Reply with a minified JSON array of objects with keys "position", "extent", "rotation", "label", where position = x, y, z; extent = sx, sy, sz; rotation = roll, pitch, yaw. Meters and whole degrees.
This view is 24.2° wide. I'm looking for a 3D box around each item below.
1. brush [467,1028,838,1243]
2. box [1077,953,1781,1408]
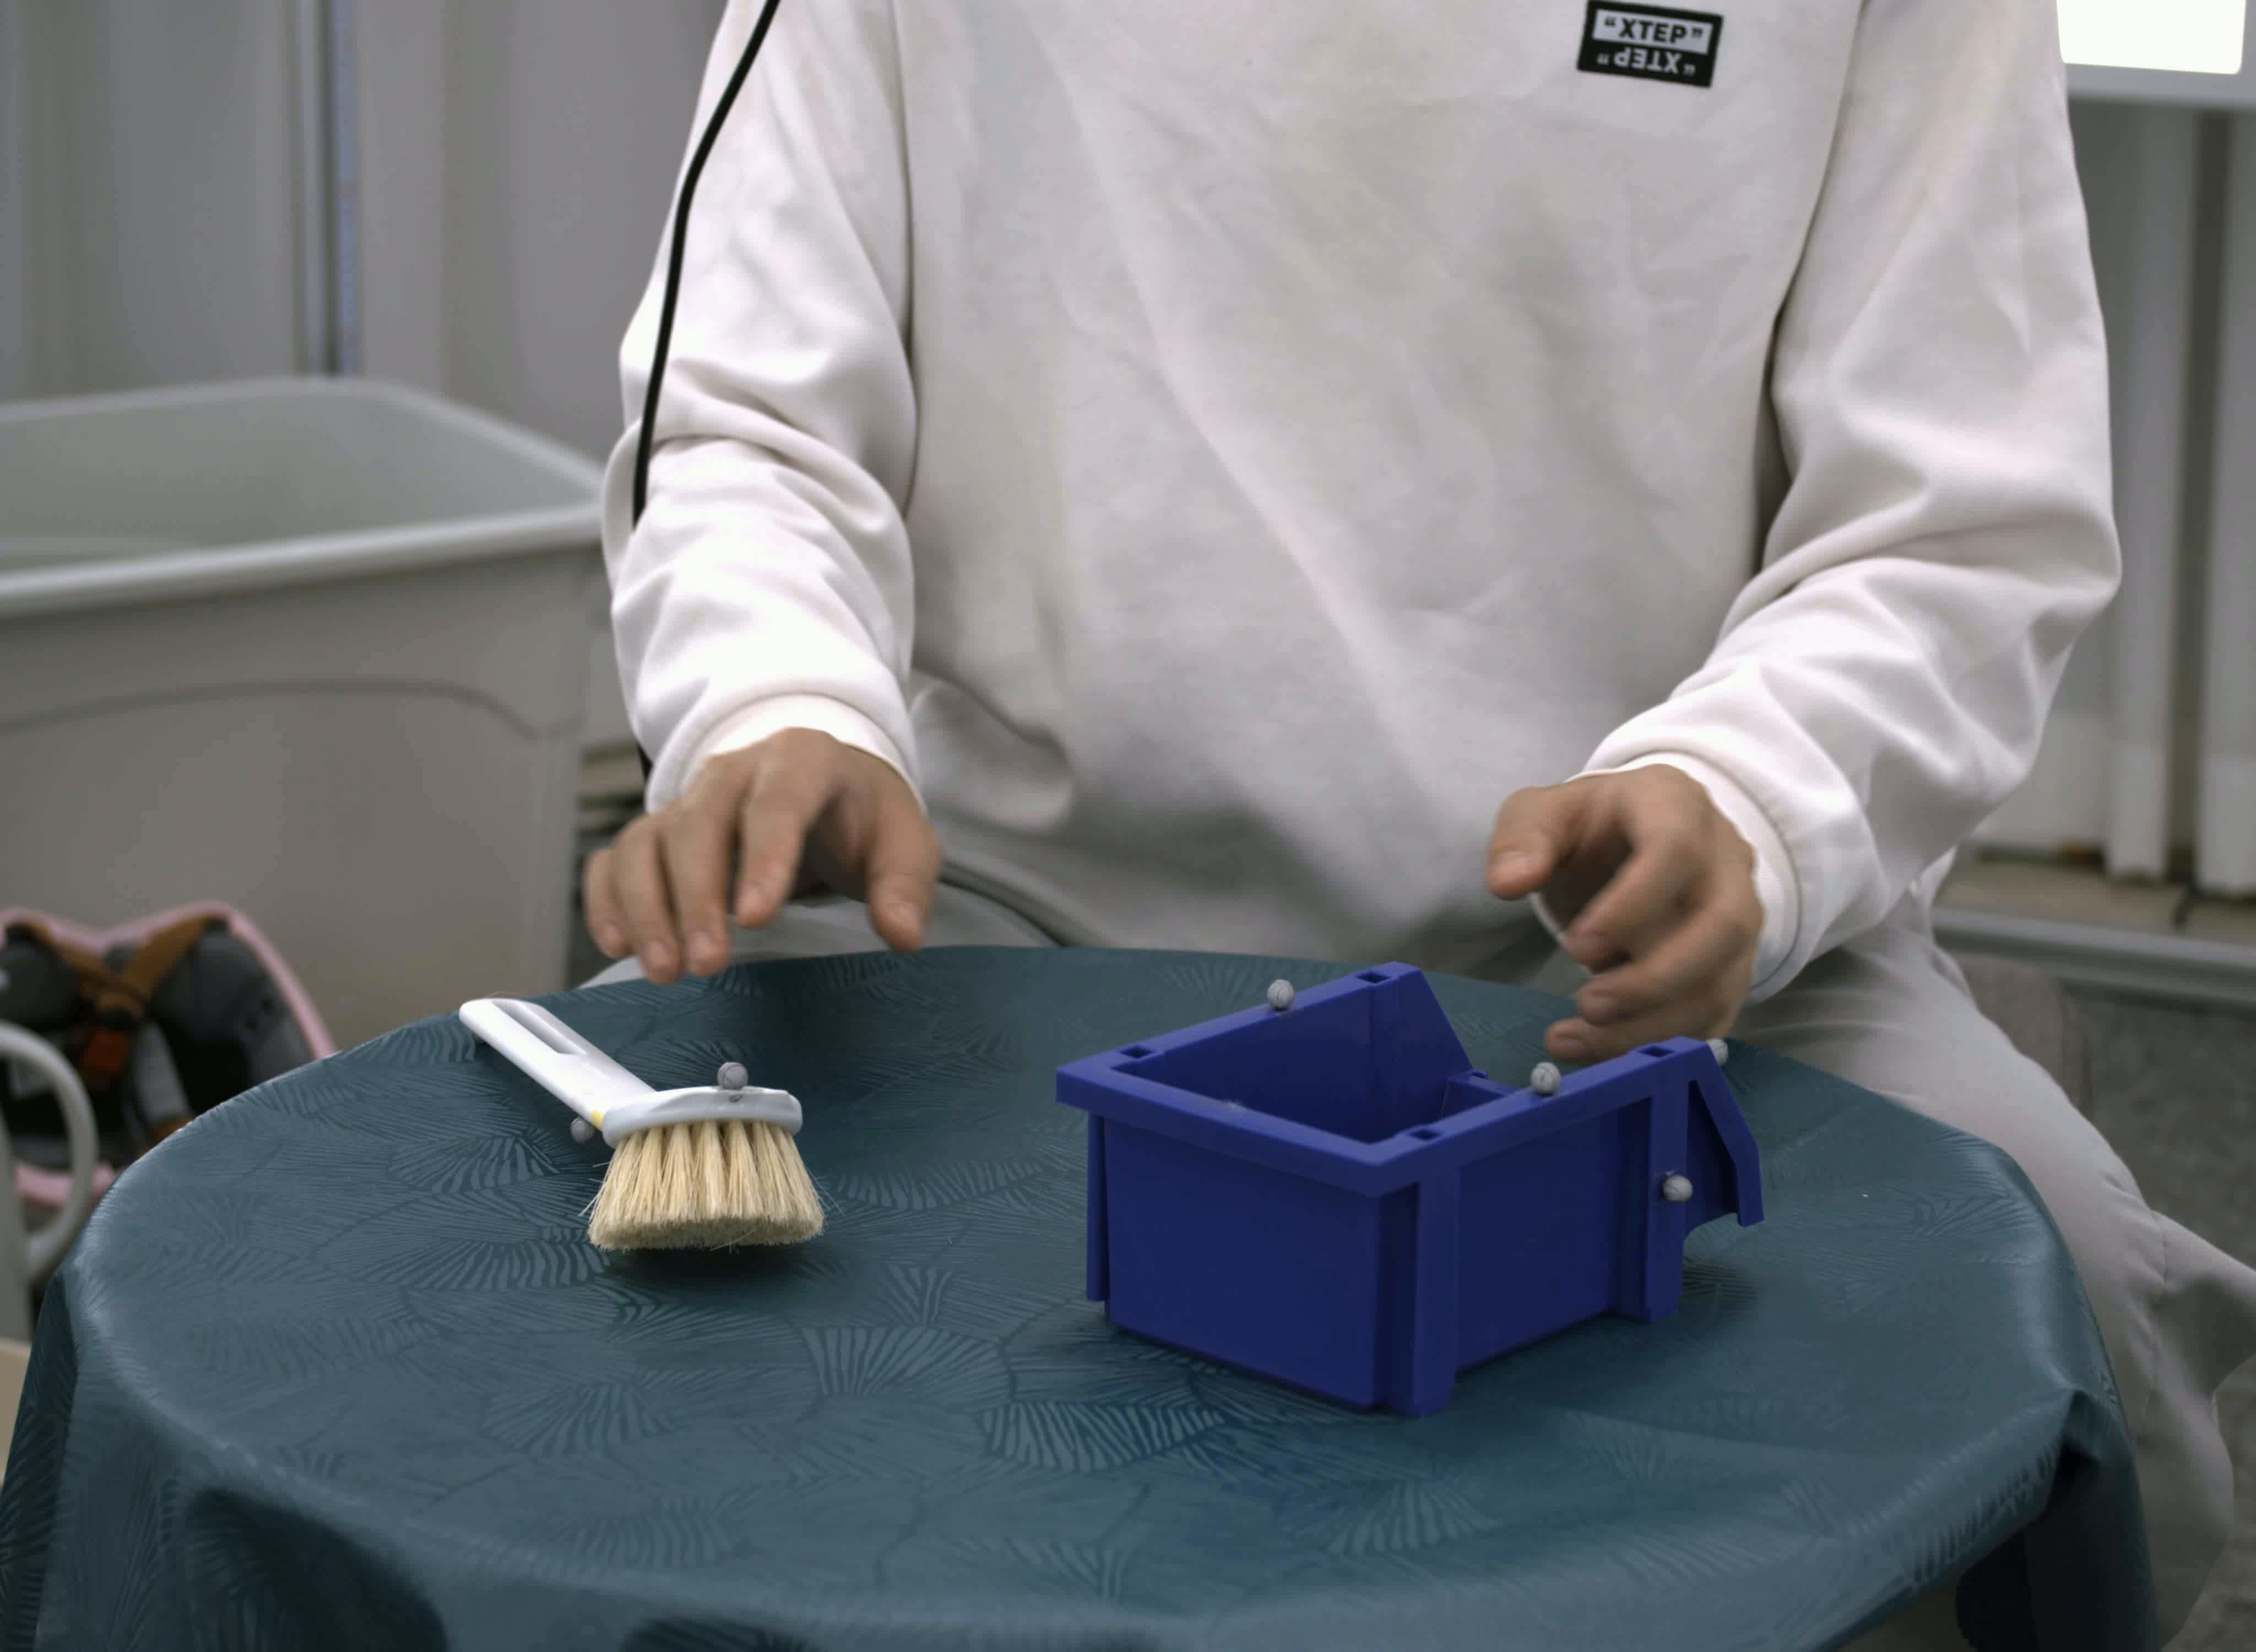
[{"position":[-0.159,0.096,1.650],"extent":[0.069,0.056,0.264],"rotation":[9,-4,-24],"label":"brush"},{"position":[0.088,0.098,1.532],"extent":[0.123,0.082,0.180],"rotation":[14,22,41],"label":"box"}]
